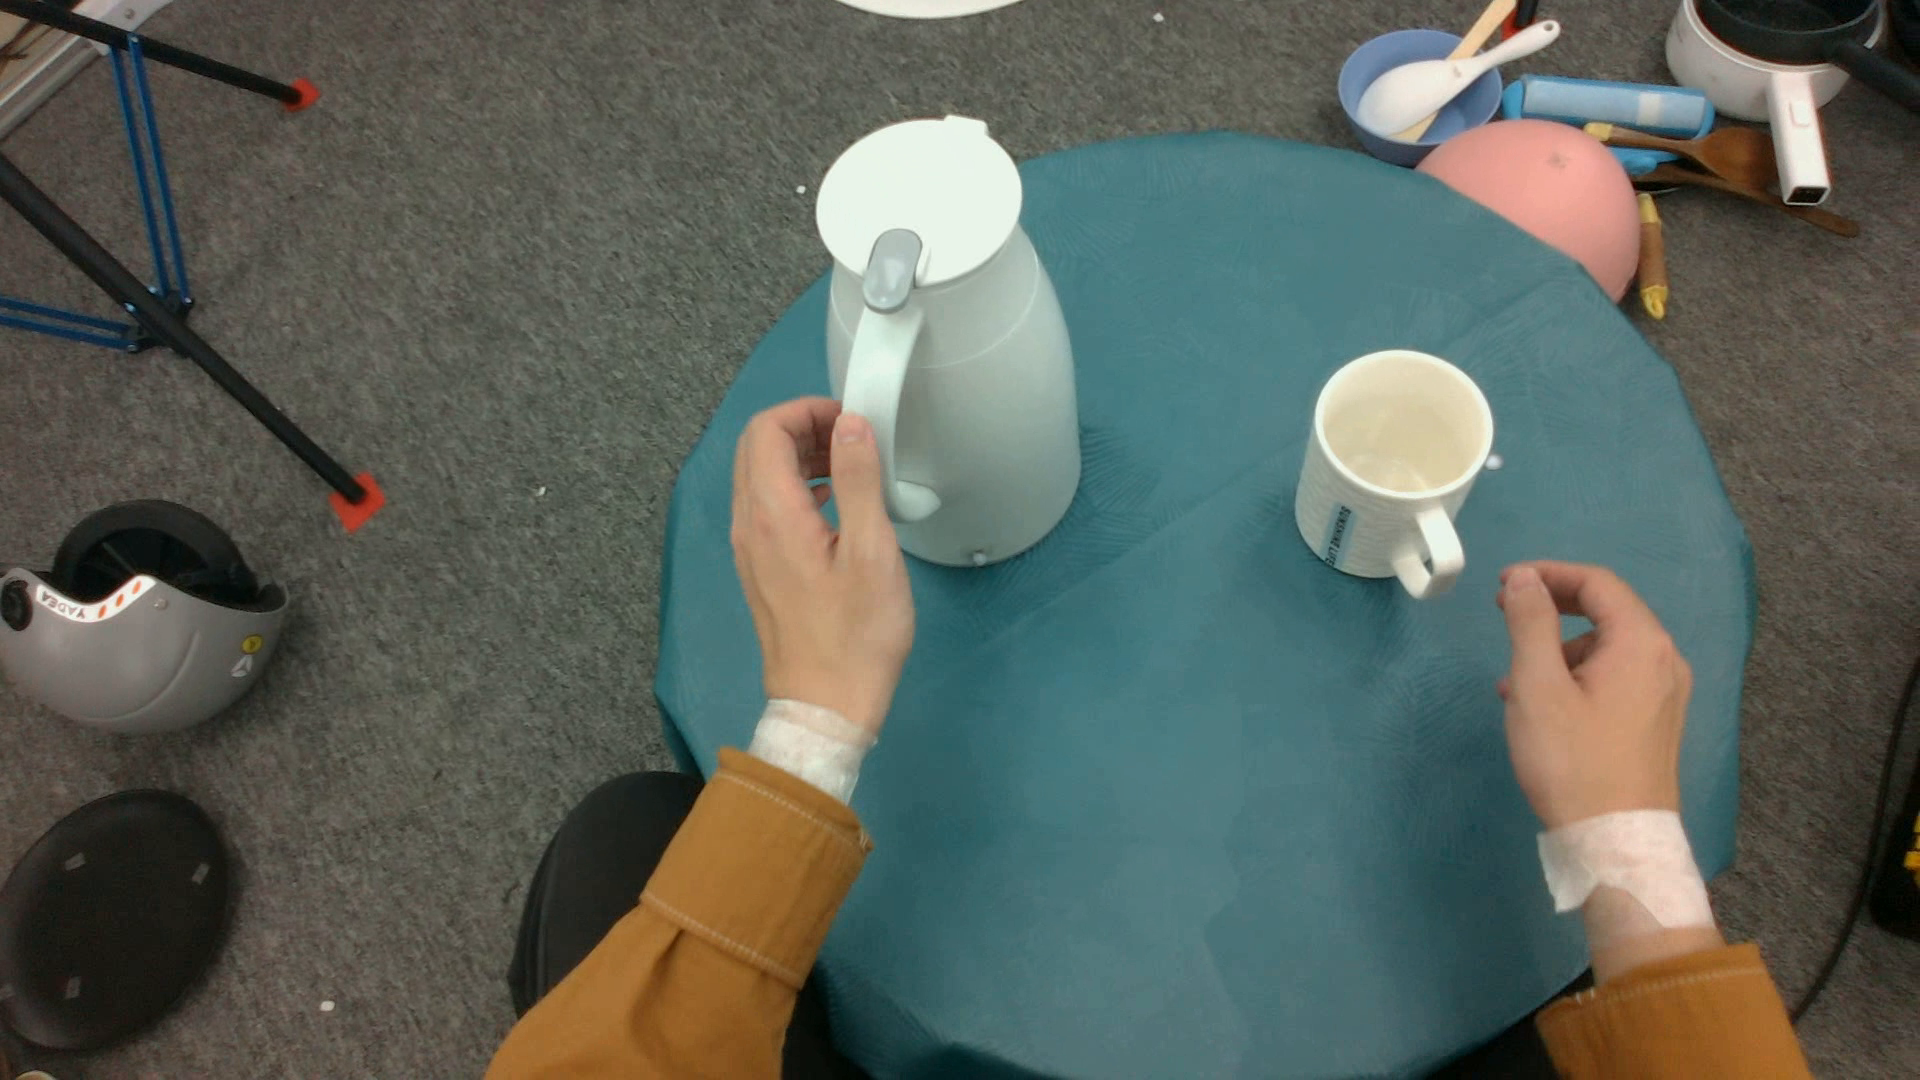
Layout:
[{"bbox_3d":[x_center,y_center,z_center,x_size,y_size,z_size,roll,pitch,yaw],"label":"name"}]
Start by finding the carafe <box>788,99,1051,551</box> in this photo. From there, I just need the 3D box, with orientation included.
[{"bbox_3d":[-0.026,-0.089,0.699,0.132,0.248,0.168,13,66,10],"label":"carafe"}]

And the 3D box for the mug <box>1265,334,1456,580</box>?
[{"bbox_3d":[0.215,-0.033,0.732,0.085,0.101,0.118,-16,64,-3],"label":"mug"}]
